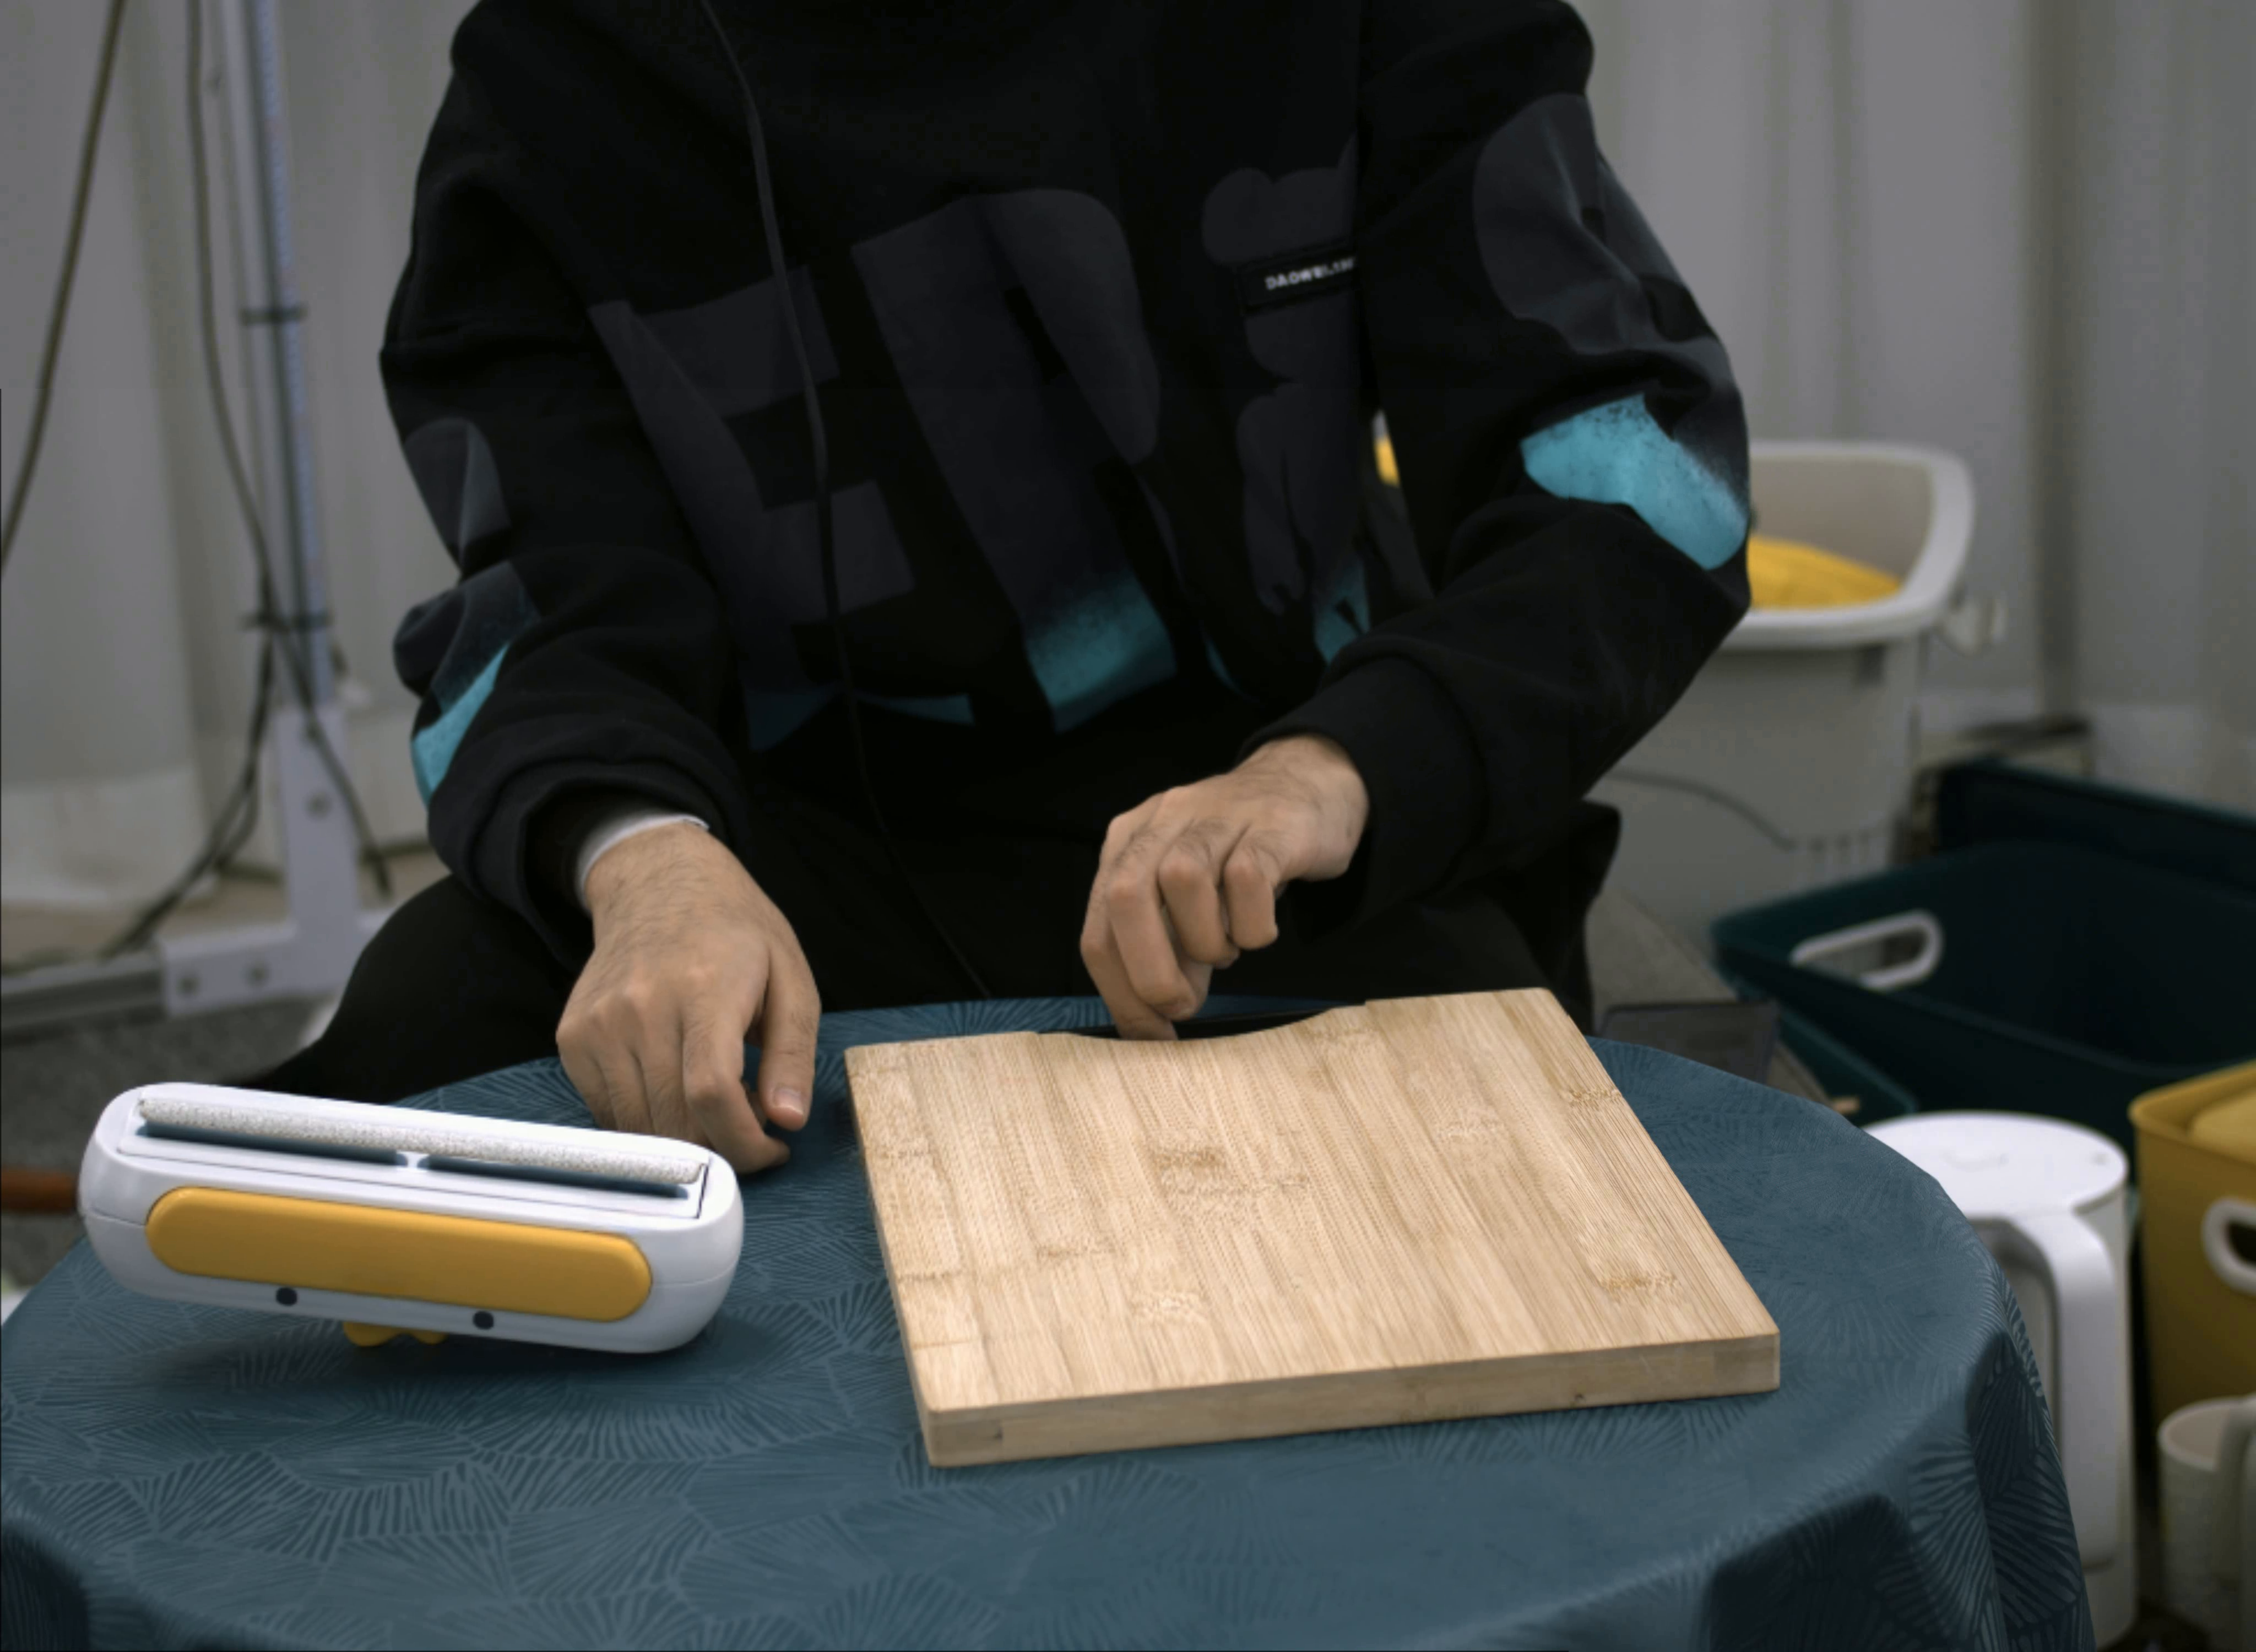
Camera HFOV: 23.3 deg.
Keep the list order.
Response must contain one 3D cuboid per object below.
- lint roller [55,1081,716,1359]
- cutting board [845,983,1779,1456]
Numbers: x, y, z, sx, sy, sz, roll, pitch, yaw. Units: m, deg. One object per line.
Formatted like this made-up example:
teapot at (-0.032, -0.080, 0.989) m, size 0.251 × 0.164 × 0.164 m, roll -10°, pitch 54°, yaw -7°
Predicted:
lint roller at (-0.213, 0.107, 1.656) m, size 0.192 × 0.074 × 0.193 m, roll 3°, pitch 13°, yaw 3°
cutting board at (0.043, 0.115, 1.673) m, size 0.250 × 0.023 × 0.351 m, roll -5°, pitch 15°, yaw -6°
